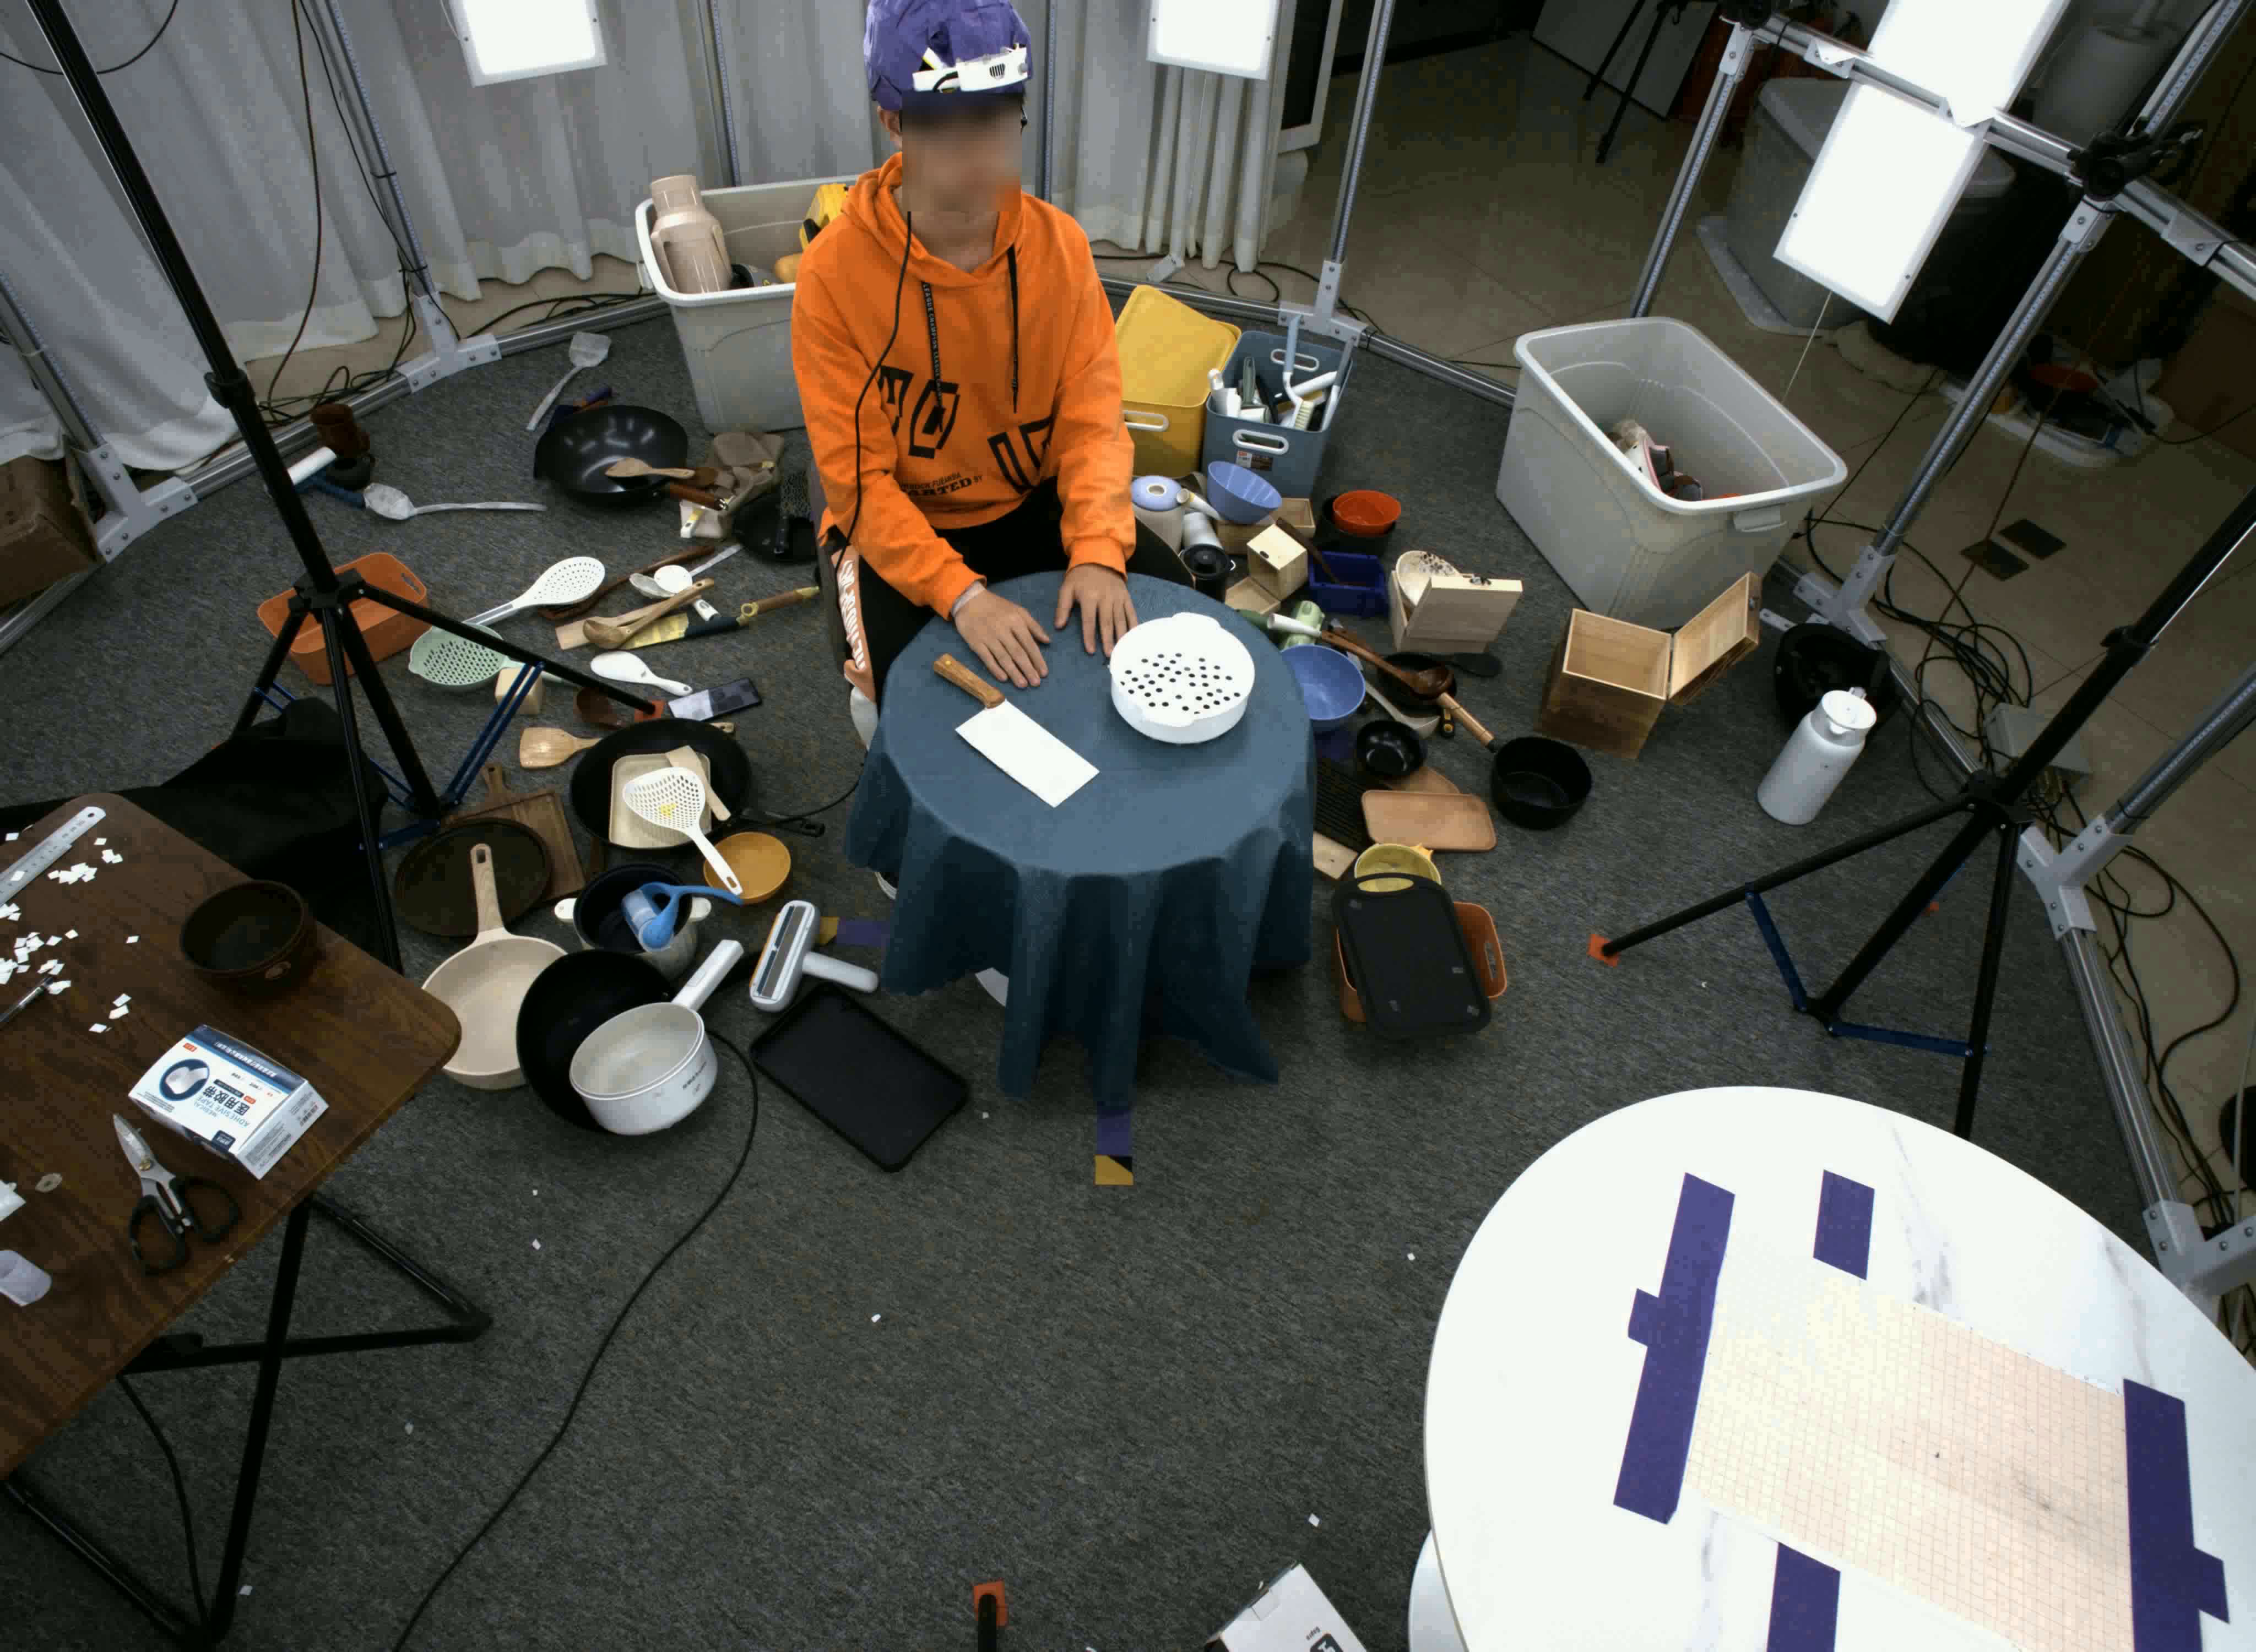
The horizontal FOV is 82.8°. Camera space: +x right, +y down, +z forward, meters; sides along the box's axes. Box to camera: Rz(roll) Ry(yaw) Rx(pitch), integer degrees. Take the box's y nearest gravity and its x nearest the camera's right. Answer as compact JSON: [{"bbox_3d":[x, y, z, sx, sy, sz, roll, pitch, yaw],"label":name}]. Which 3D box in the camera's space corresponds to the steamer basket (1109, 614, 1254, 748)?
[{"bbox_3d":[0.074,-0.200,1.803,0.202,0.067,0.236,11,51,7],"label":"steamer basket"}]

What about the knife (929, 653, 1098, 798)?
[{"bbox_3d":[-0.178,-0.136,1.765,0.310,0.020,0.094,38,58,23],"label":"knife"}]
